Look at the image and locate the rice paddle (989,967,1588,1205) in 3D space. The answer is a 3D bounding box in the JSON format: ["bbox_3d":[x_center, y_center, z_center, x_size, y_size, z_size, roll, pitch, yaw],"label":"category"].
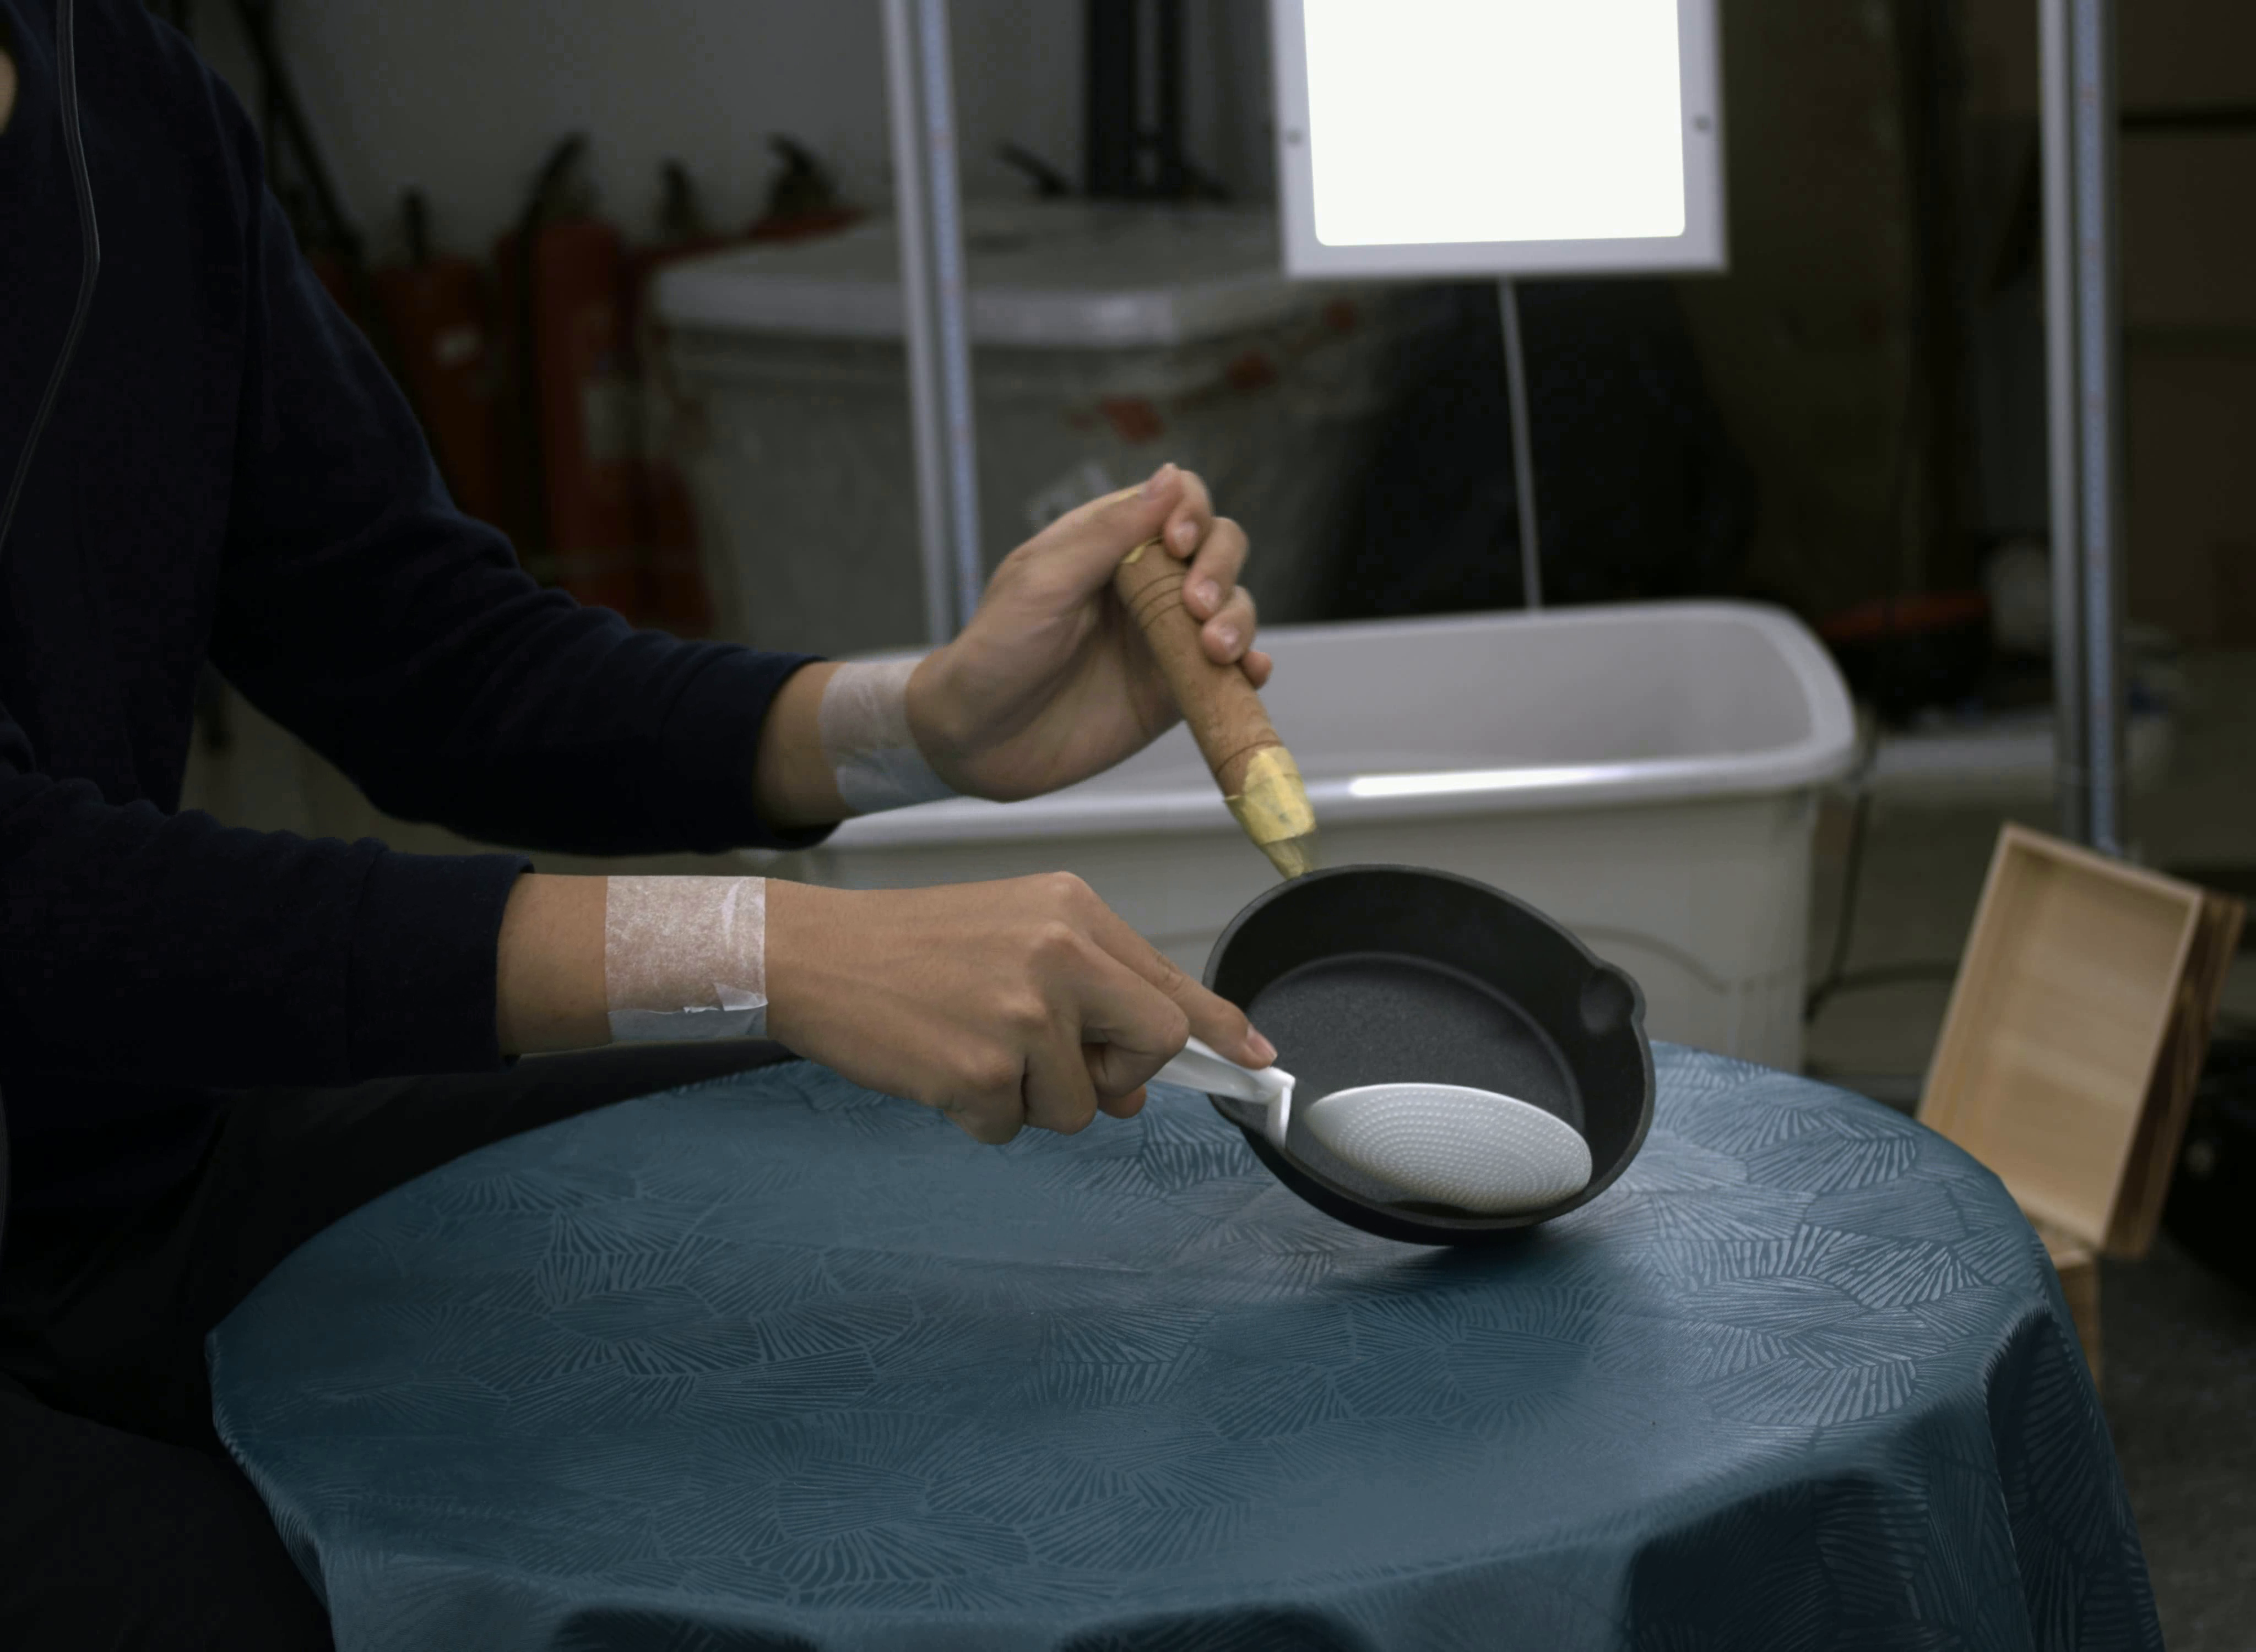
[{"bbox_3d":[0.055,0.087,1.778,0.203,0.029,0.070,16,-34,-13],"label":"rice paddle"}]

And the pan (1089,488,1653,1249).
[{"bbox_3d":[0.062,0.014,1.877,0.165,0.050,0.327,-13,55,-24],"label":"pan"}]
